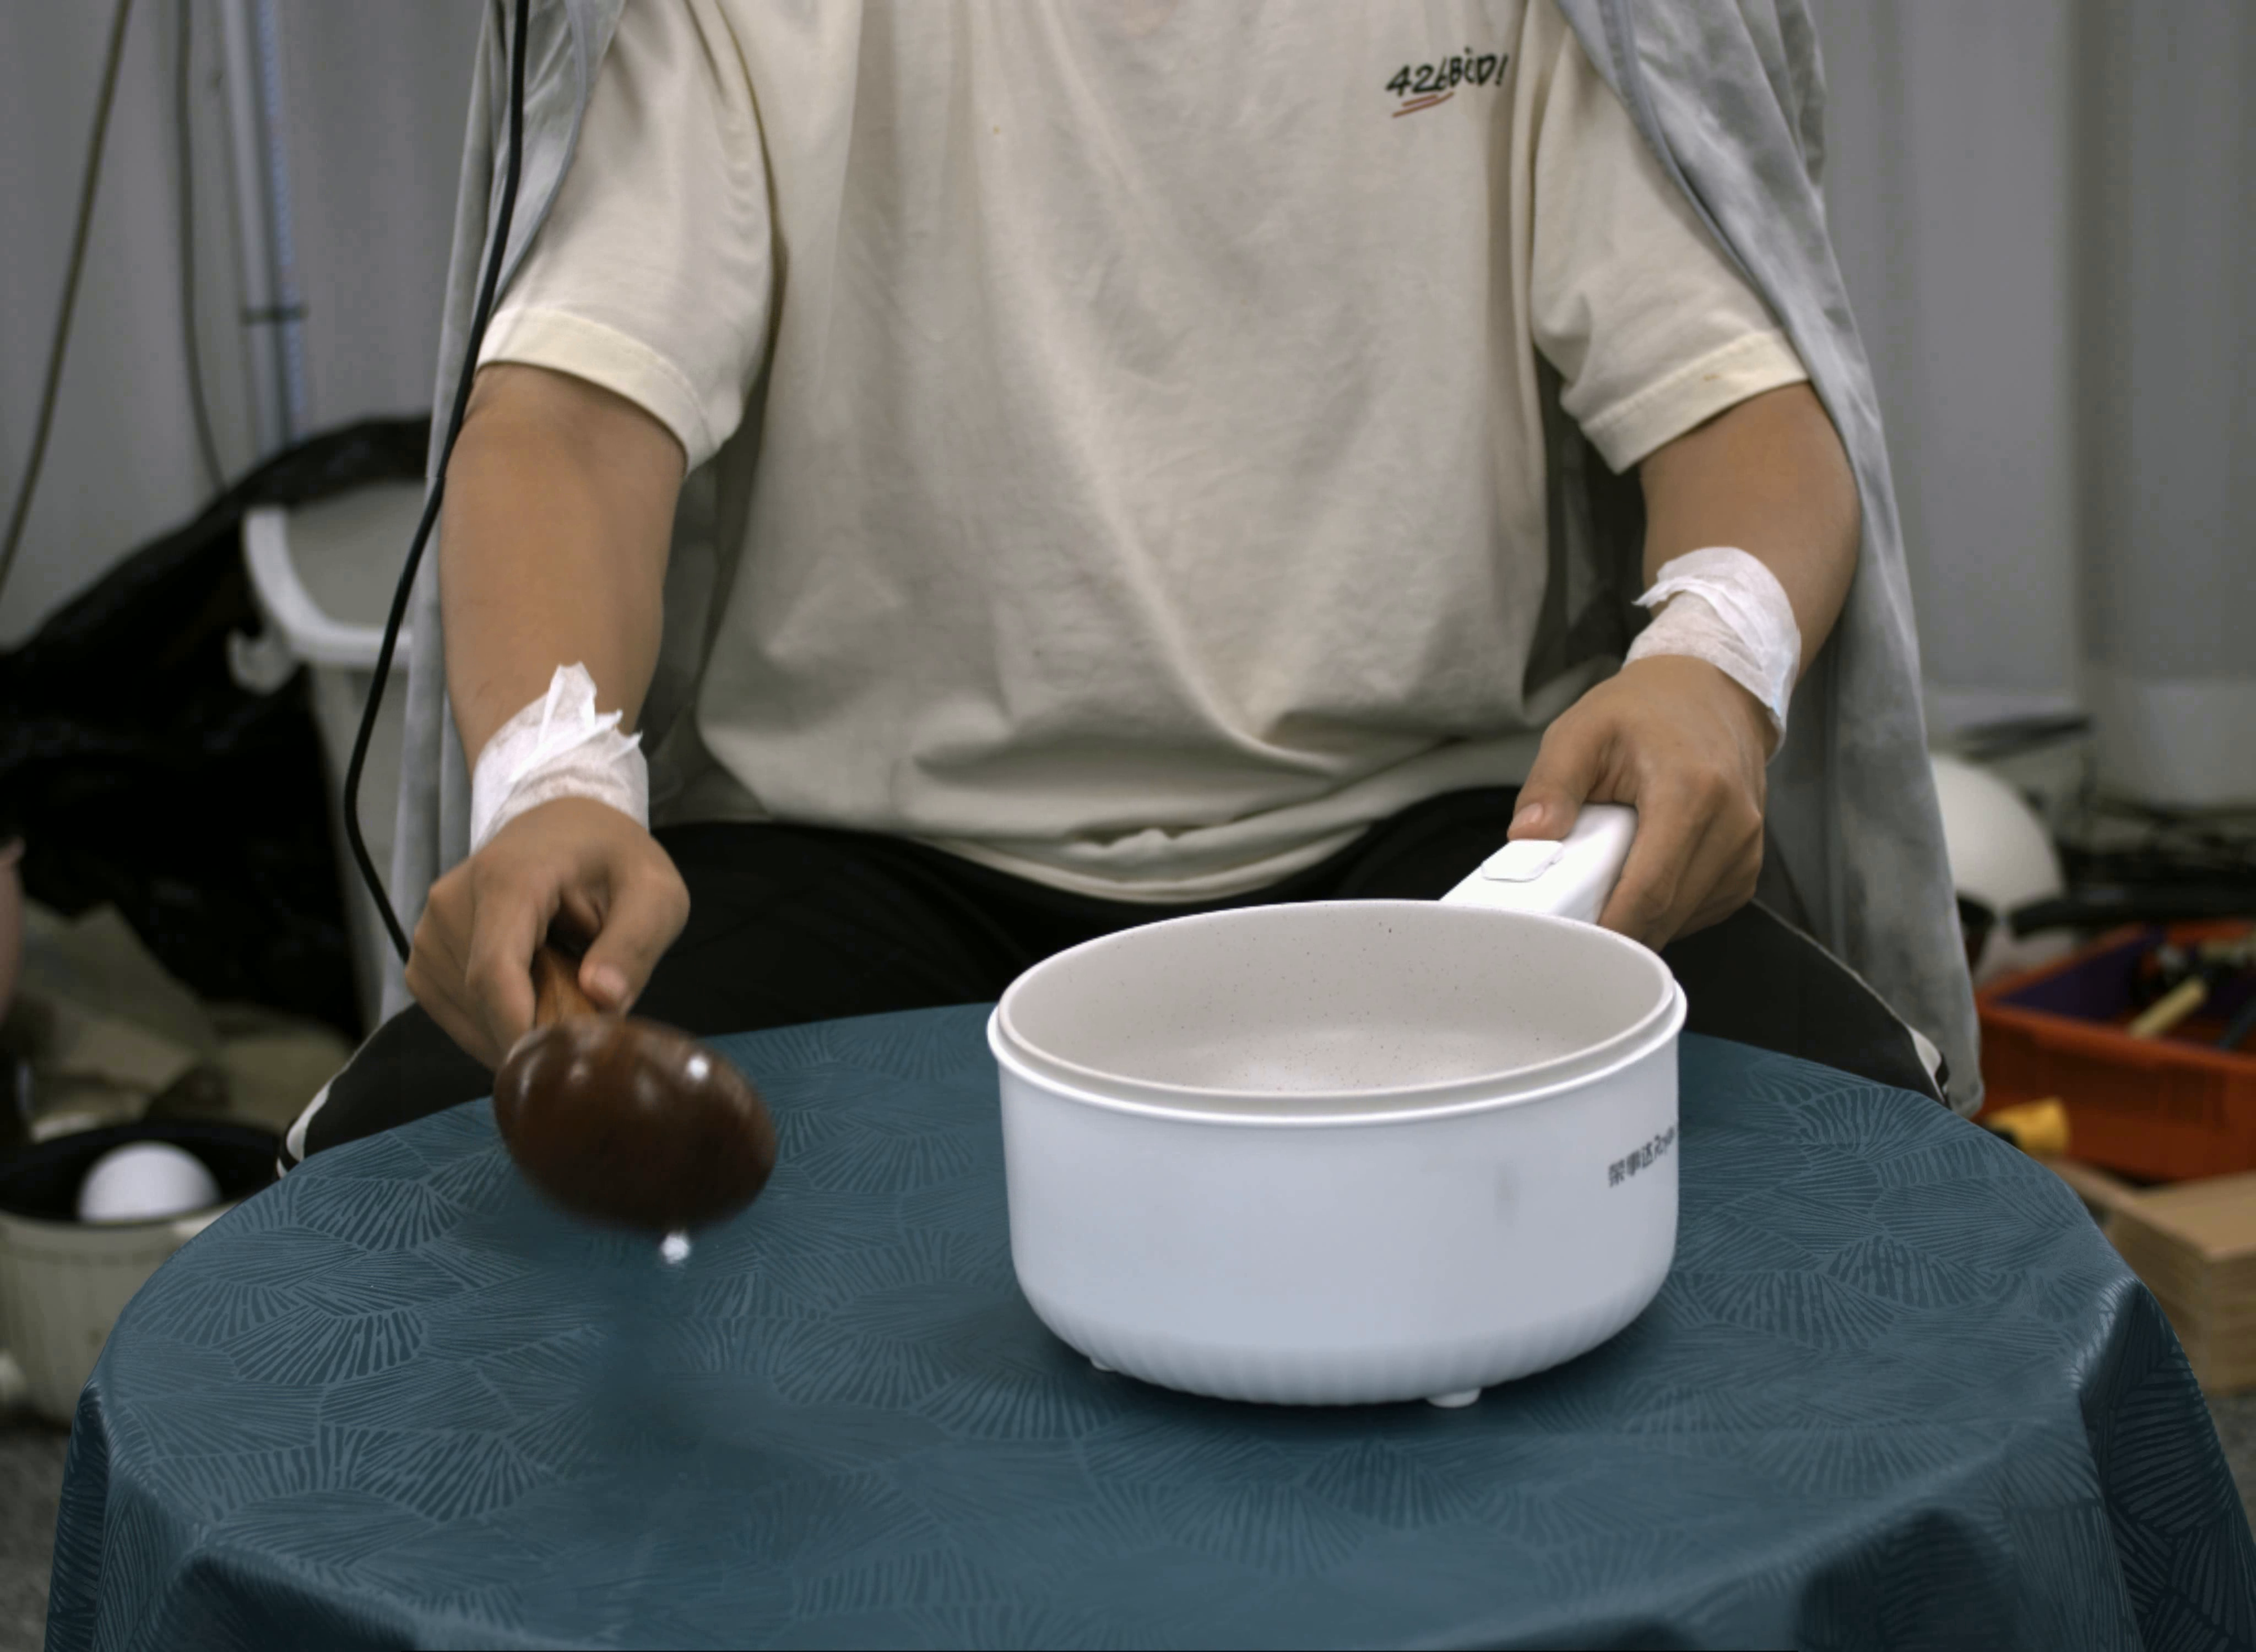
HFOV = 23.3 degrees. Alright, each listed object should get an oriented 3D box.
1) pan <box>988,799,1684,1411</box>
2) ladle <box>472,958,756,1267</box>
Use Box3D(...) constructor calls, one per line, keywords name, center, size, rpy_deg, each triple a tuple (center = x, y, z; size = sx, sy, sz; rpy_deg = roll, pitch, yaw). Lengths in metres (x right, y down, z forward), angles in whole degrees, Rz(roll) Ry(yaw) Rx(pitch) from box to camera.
Box3D(name="pan", center=(0.093, 0.080, 1.650), size=(0.201, 0.102, 0.355), rpy_deg=(2, 15, 24))
Box3D(name="ladle", center=(-0.150, 0.062, 1.610), size=(0.081, 0.076, 0.276), rpy_deg=(40, 10, -12))
